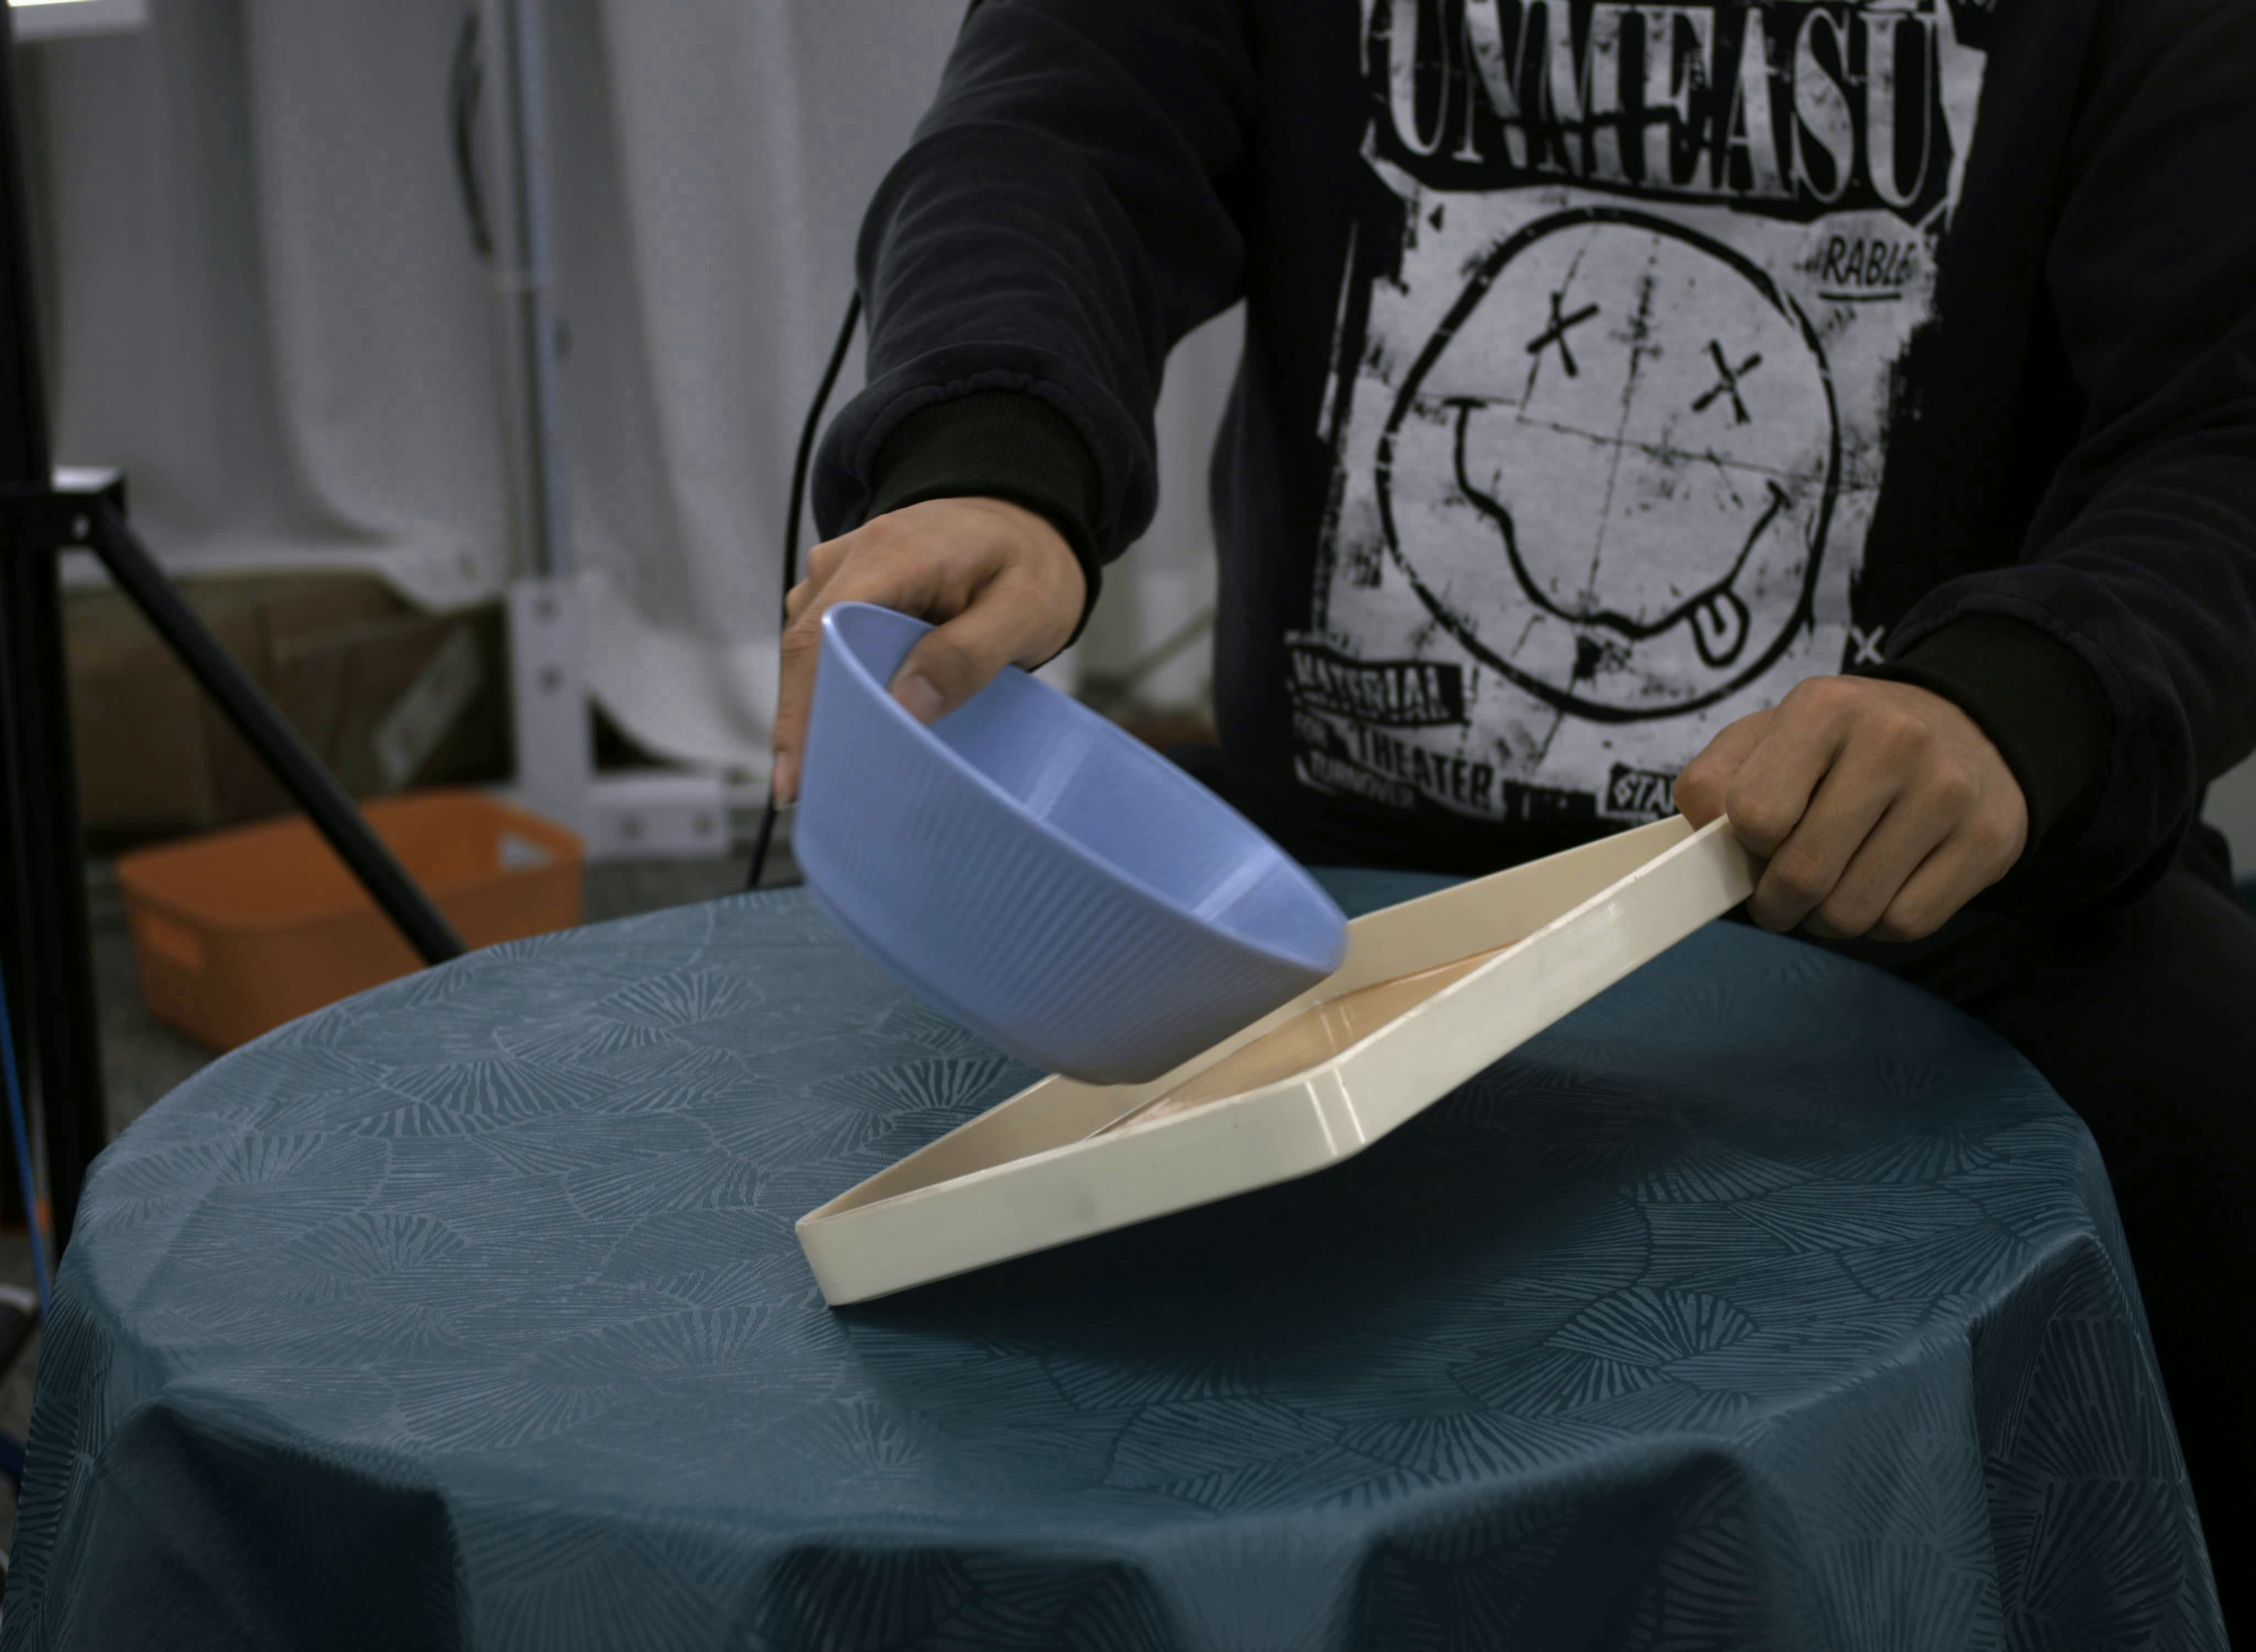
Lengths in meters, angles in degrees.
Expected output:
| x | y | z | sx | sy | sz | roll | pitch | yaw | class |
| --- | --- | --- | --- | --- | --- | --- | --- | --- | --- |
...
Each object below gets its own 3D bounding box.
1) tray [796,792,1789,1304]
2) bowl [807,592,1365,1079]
| x | y | z | sx | sy | sz | roll | pitch | yaw | class |
| --- | --- | --- | --- | --- | --- | --- | --- | --- | --- |
| 0.054 | 0.063 | 1.537 | 0.195 | 0.027 | 0.295 | -18 | 5 | 35 | tray |
| -0.023 | 0.011 | 1.483 | 0.174 | 0.070 | 0.177 | 32 | 11 | -9 | bowl |
